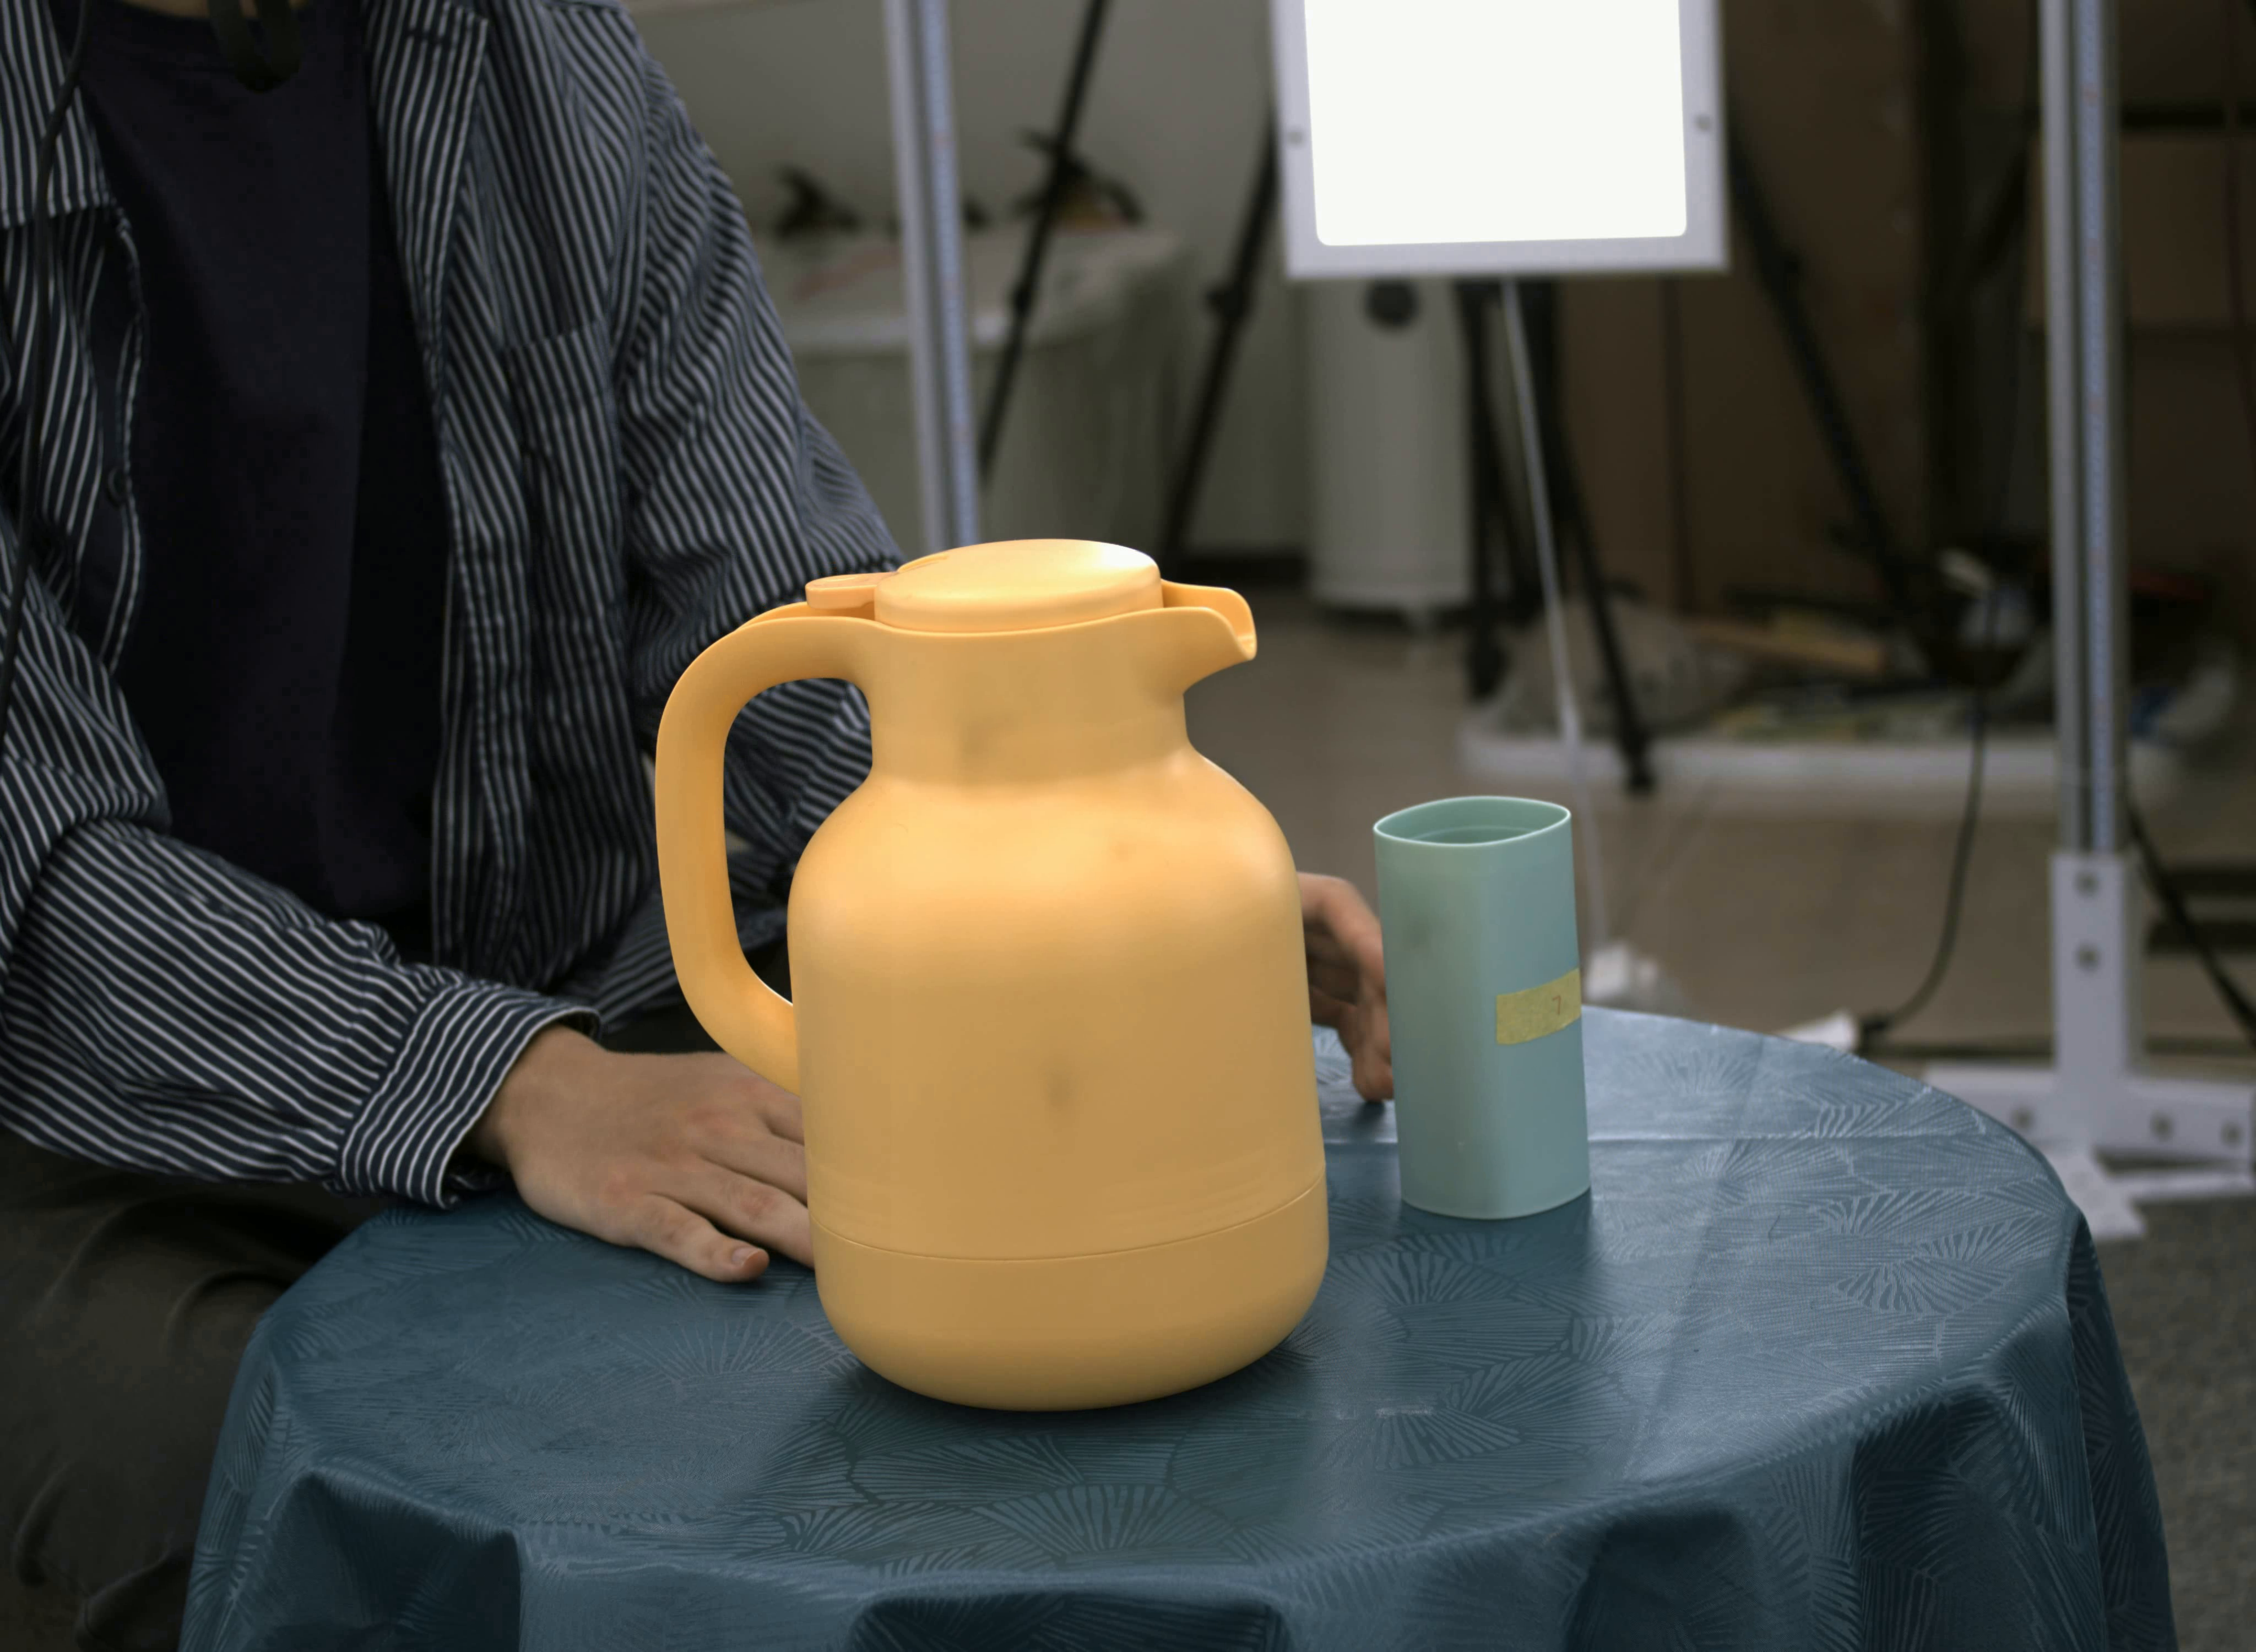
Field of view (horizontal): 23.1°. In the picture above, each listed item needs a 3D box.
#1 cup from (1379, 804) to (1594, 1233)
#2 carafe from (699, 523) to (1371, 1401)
[{"bbox_3d":[0.120,0.063,1.844,0.066,0.133,0.066,-4,14,0],"label":"cup"},{"bbox_3d":[-0.030,0.038,1.717,0.204,0.261,0.161,-1,13,15],"label":"carafe"}]
